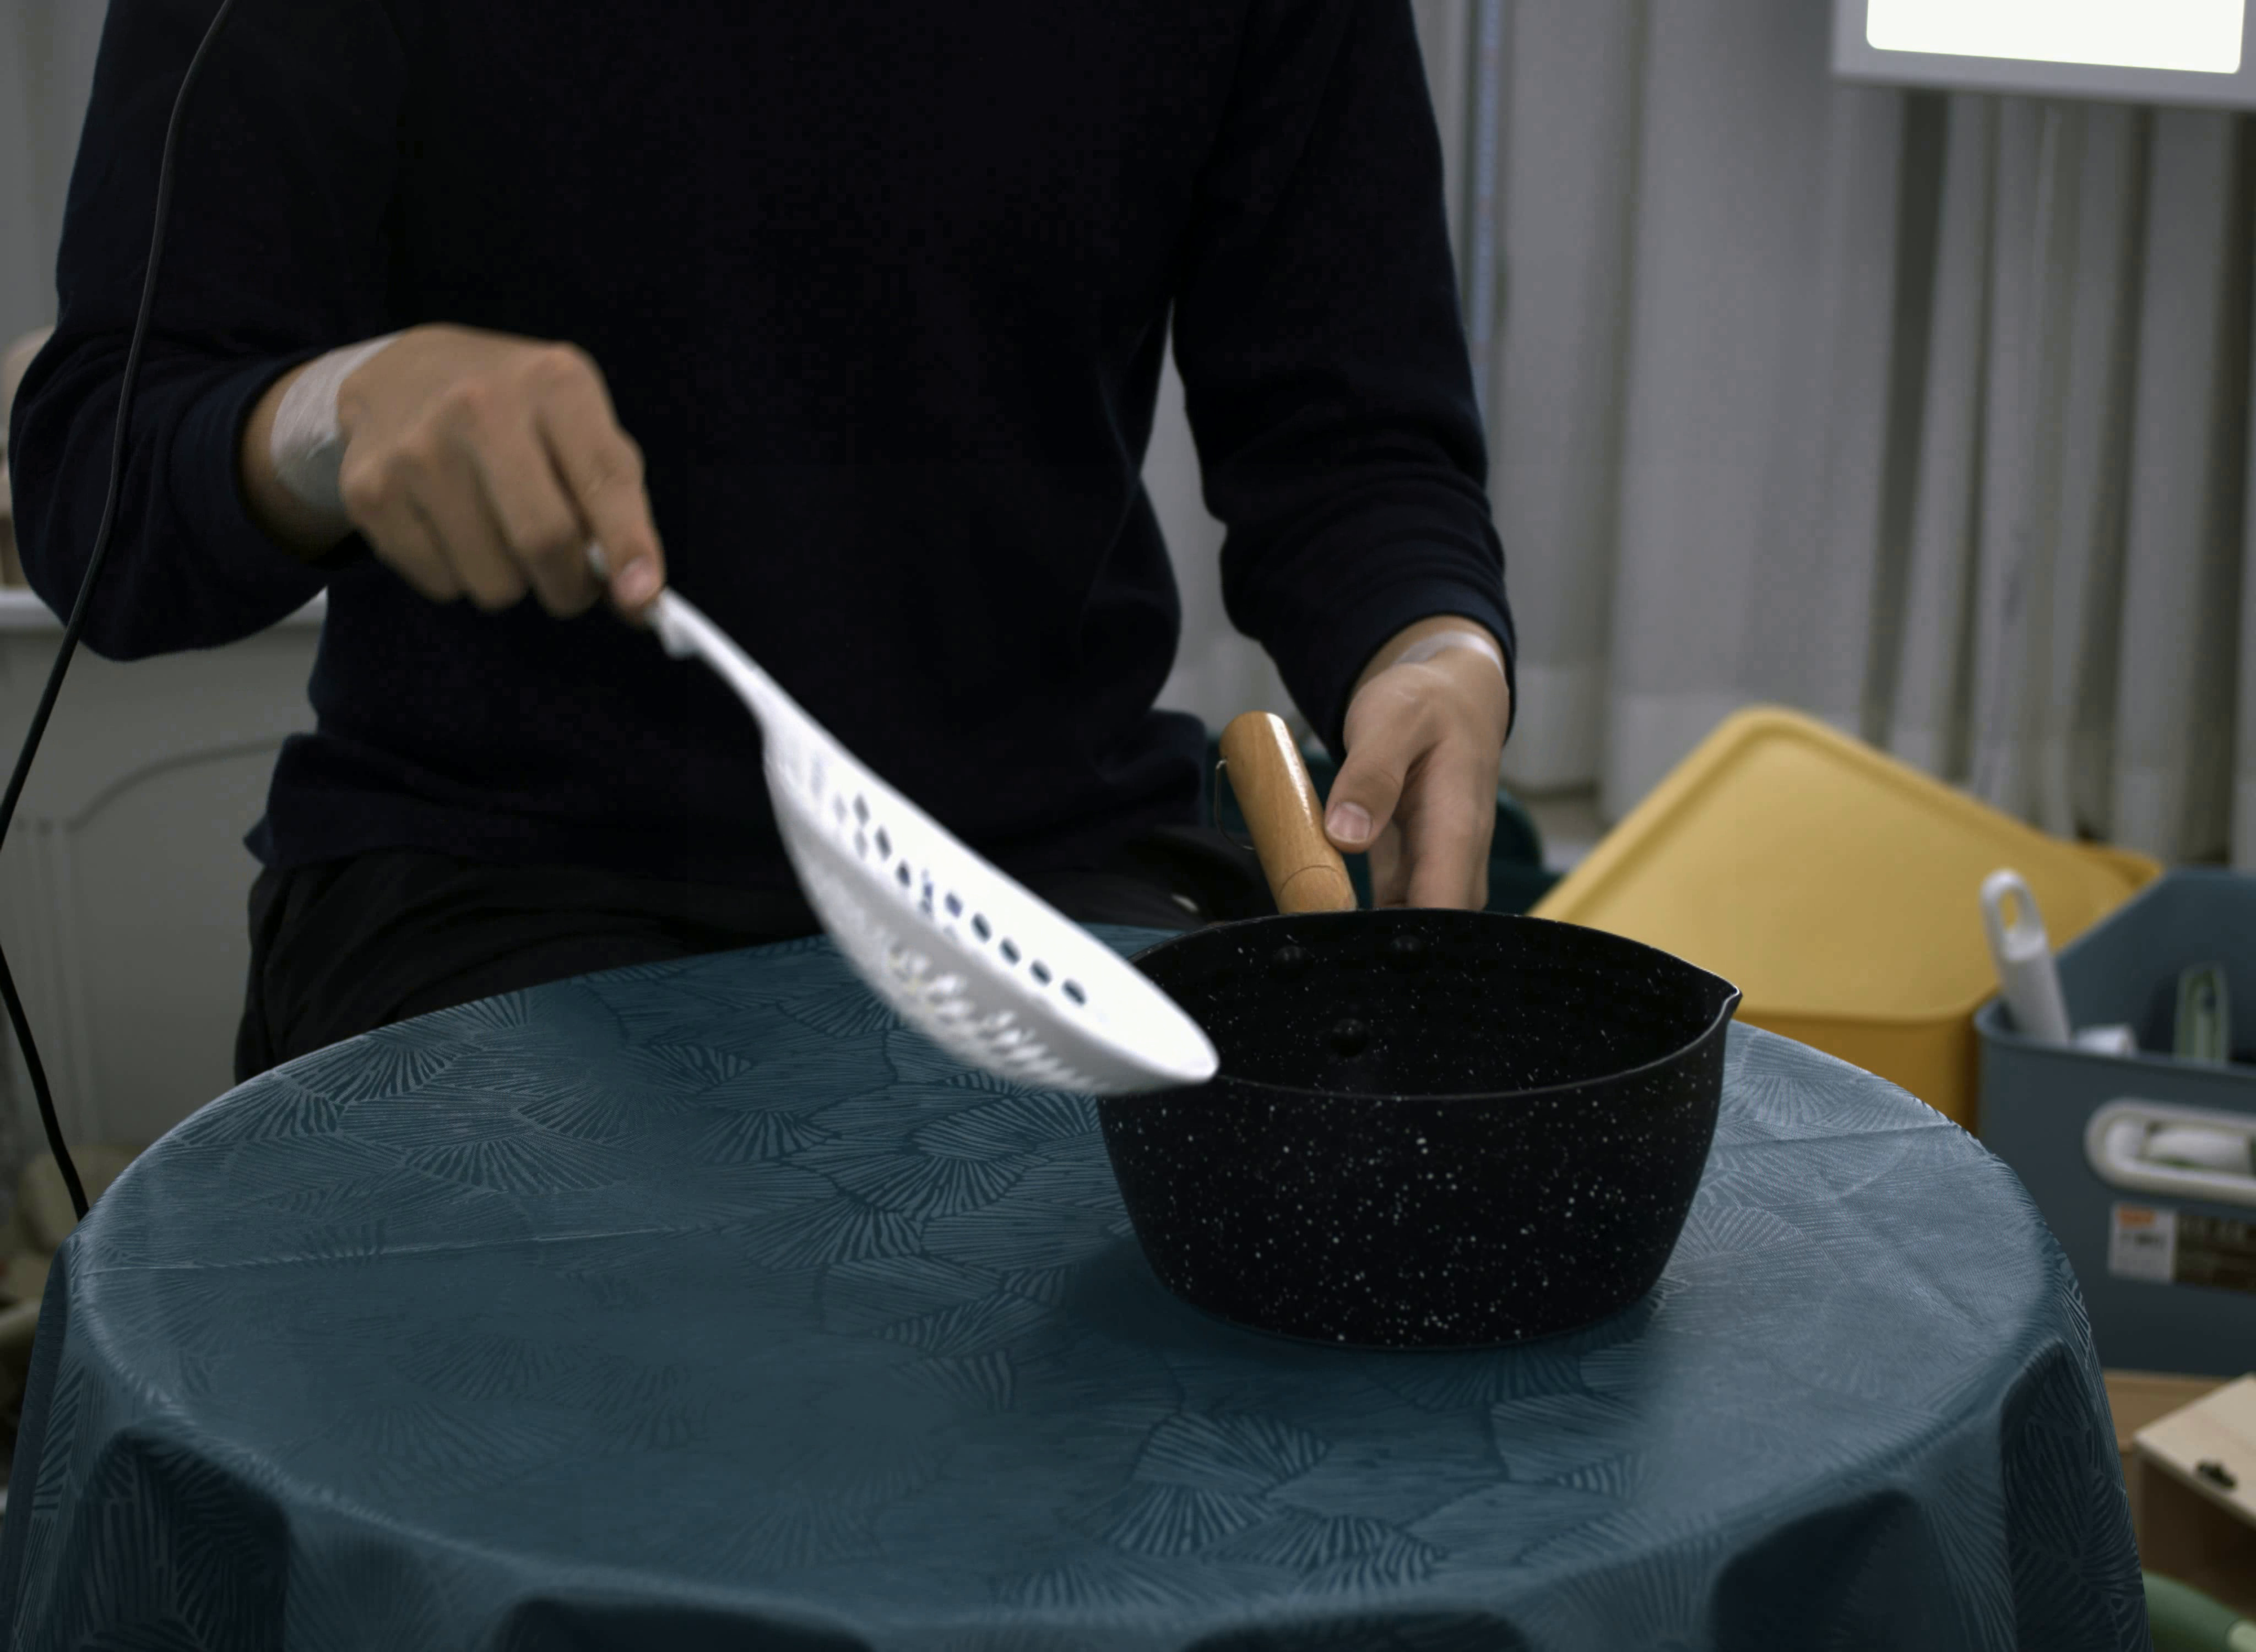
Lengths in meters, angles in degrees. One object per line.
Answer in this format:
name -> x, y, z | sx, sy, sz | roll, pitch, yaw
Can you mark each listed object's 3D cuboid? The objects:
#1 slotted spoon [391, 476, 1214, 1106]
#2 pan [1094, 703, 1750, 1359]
slotted spoon -> -0.106, -0.019, 1.492 | 0.138, 0.050, 0.343 | 23, 19, -51
pan -> 0.068, 0.057, 1.619 | 0.207, 0.109, 0.340 | -4, 17, -10
